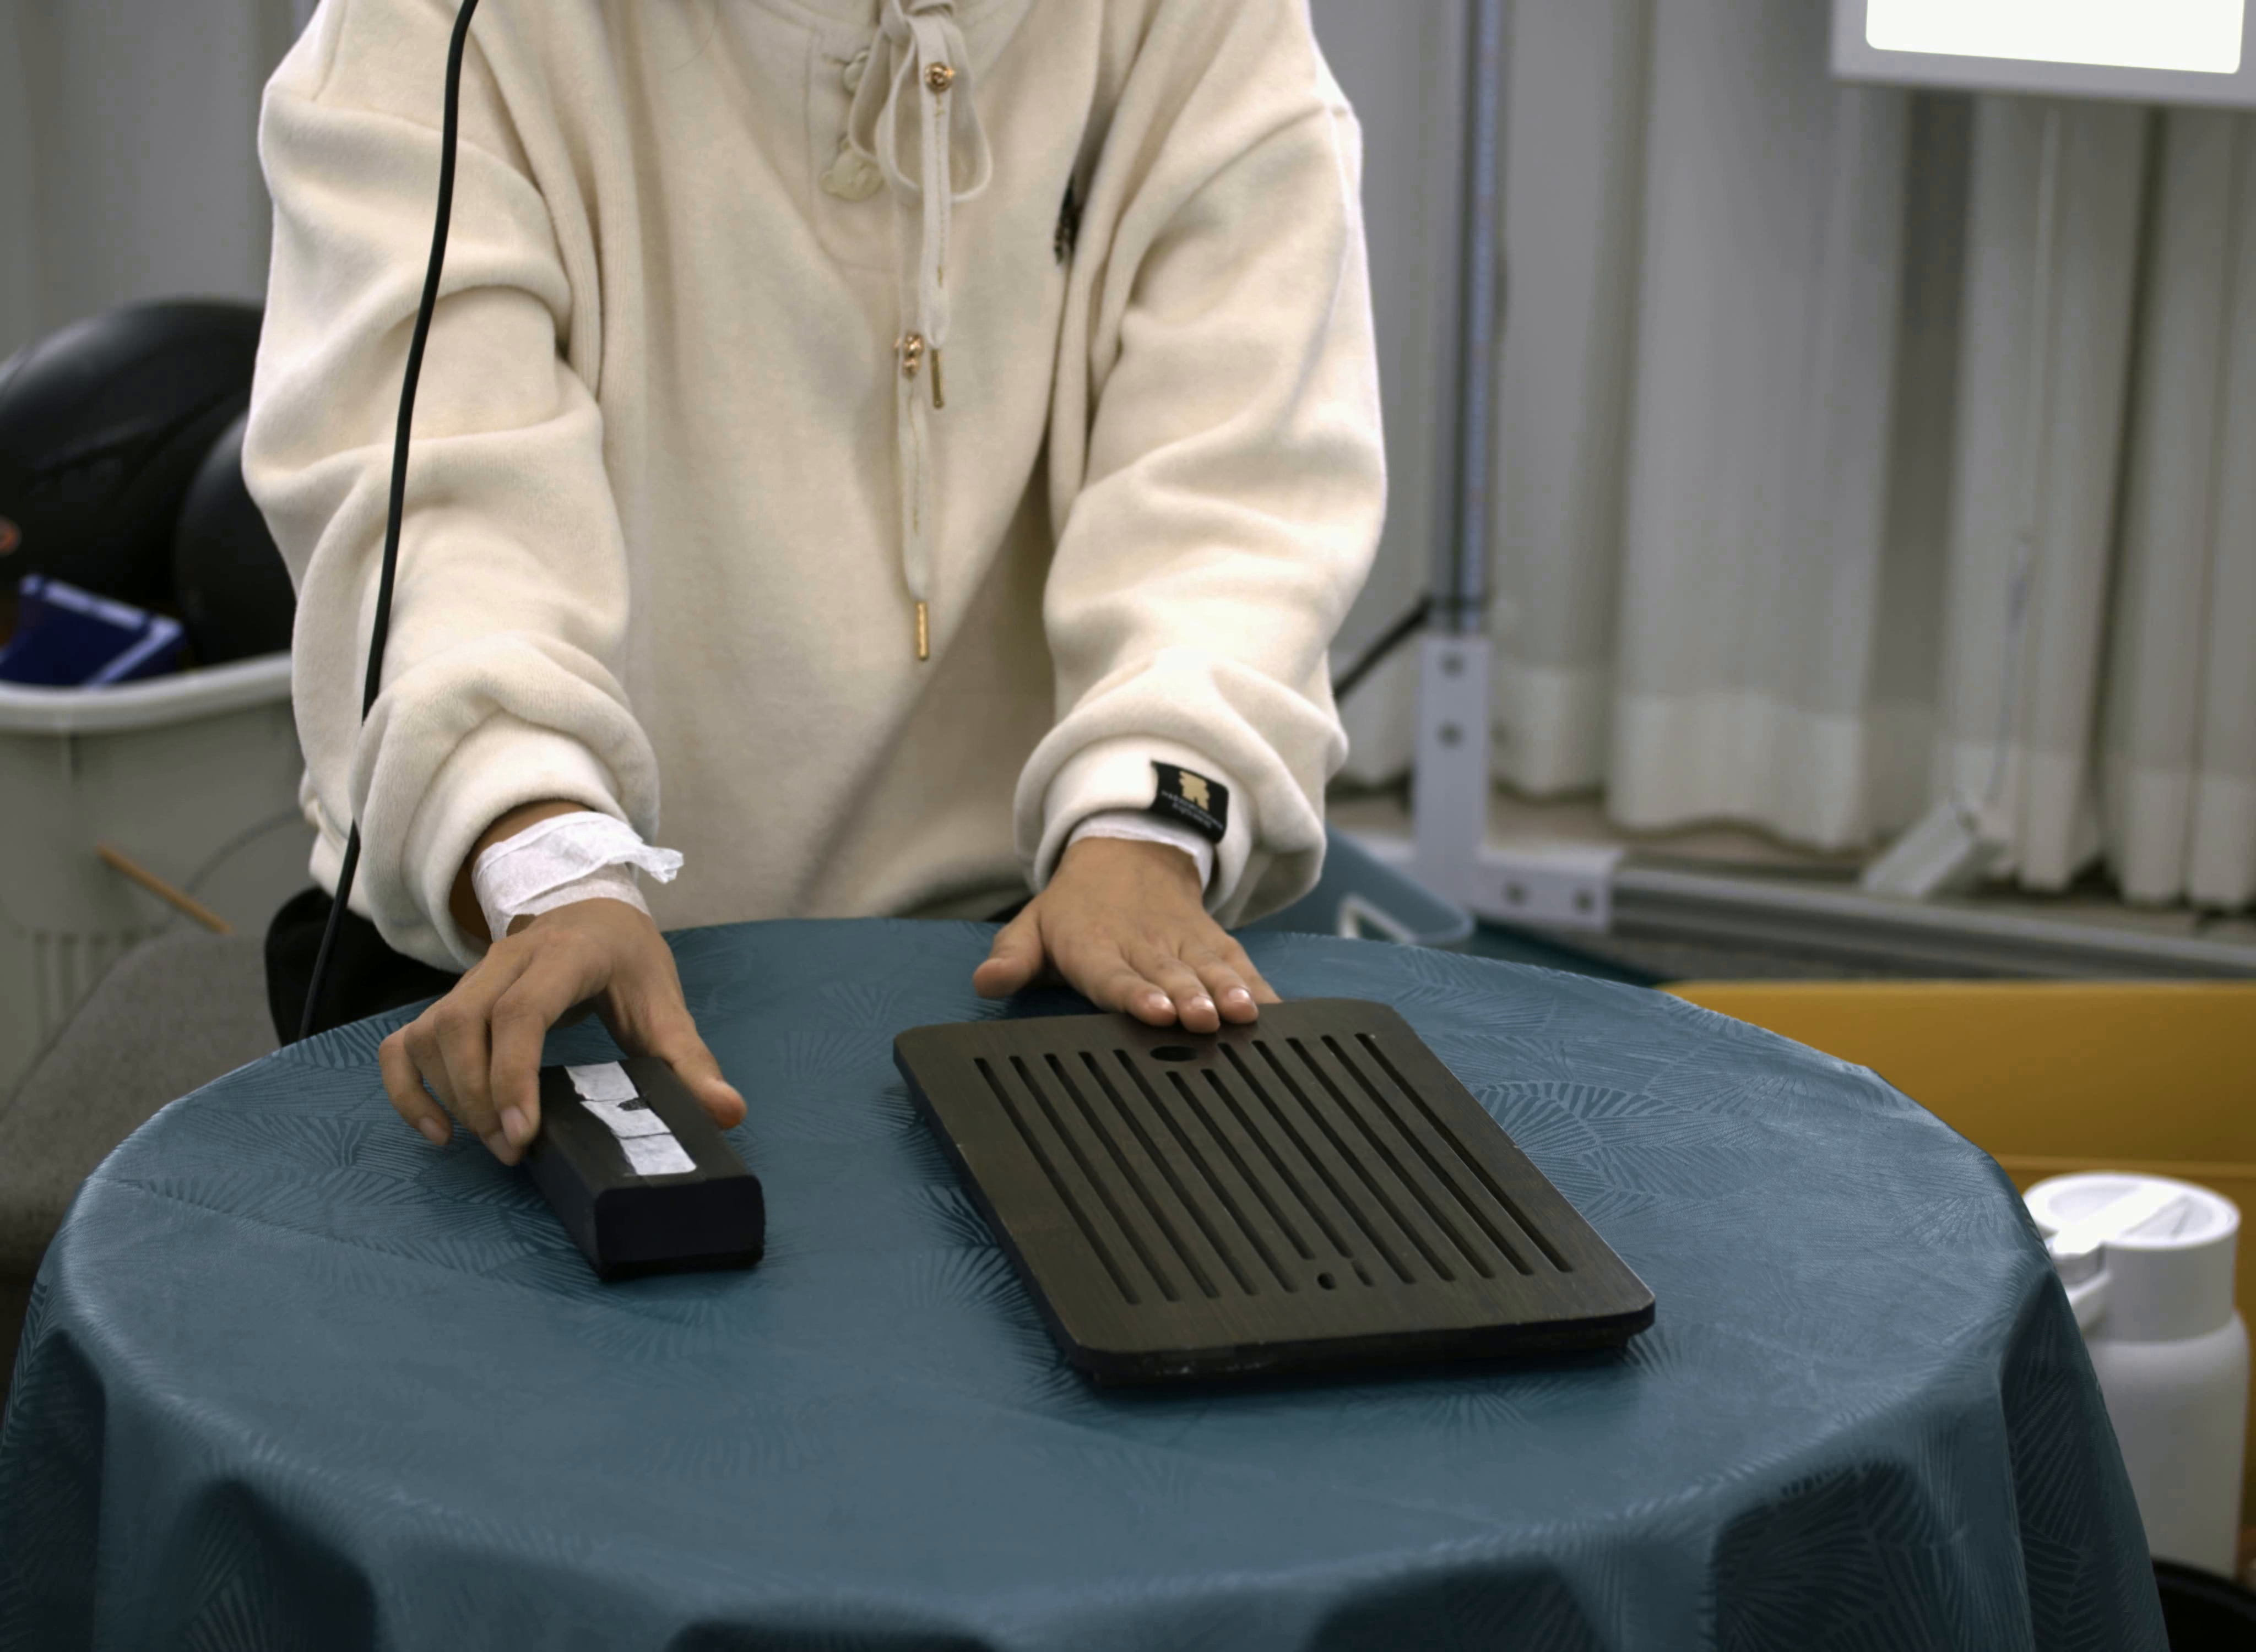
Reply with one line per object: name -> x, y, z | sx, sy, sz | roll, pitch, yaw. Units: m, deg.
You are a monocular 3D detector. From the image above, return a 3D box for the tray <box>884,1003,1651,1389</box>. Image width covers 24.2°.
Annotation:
tray -> 0.034, 0.109, 1.600 | 0.170, 0.019, 0.303 | -3, 16, -13

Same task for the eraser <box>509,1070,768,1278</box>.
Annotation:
eraser -> -0.149, 0.104, 1.595 | 0.053, 0.030, 0.124 | -2, 14, -18
